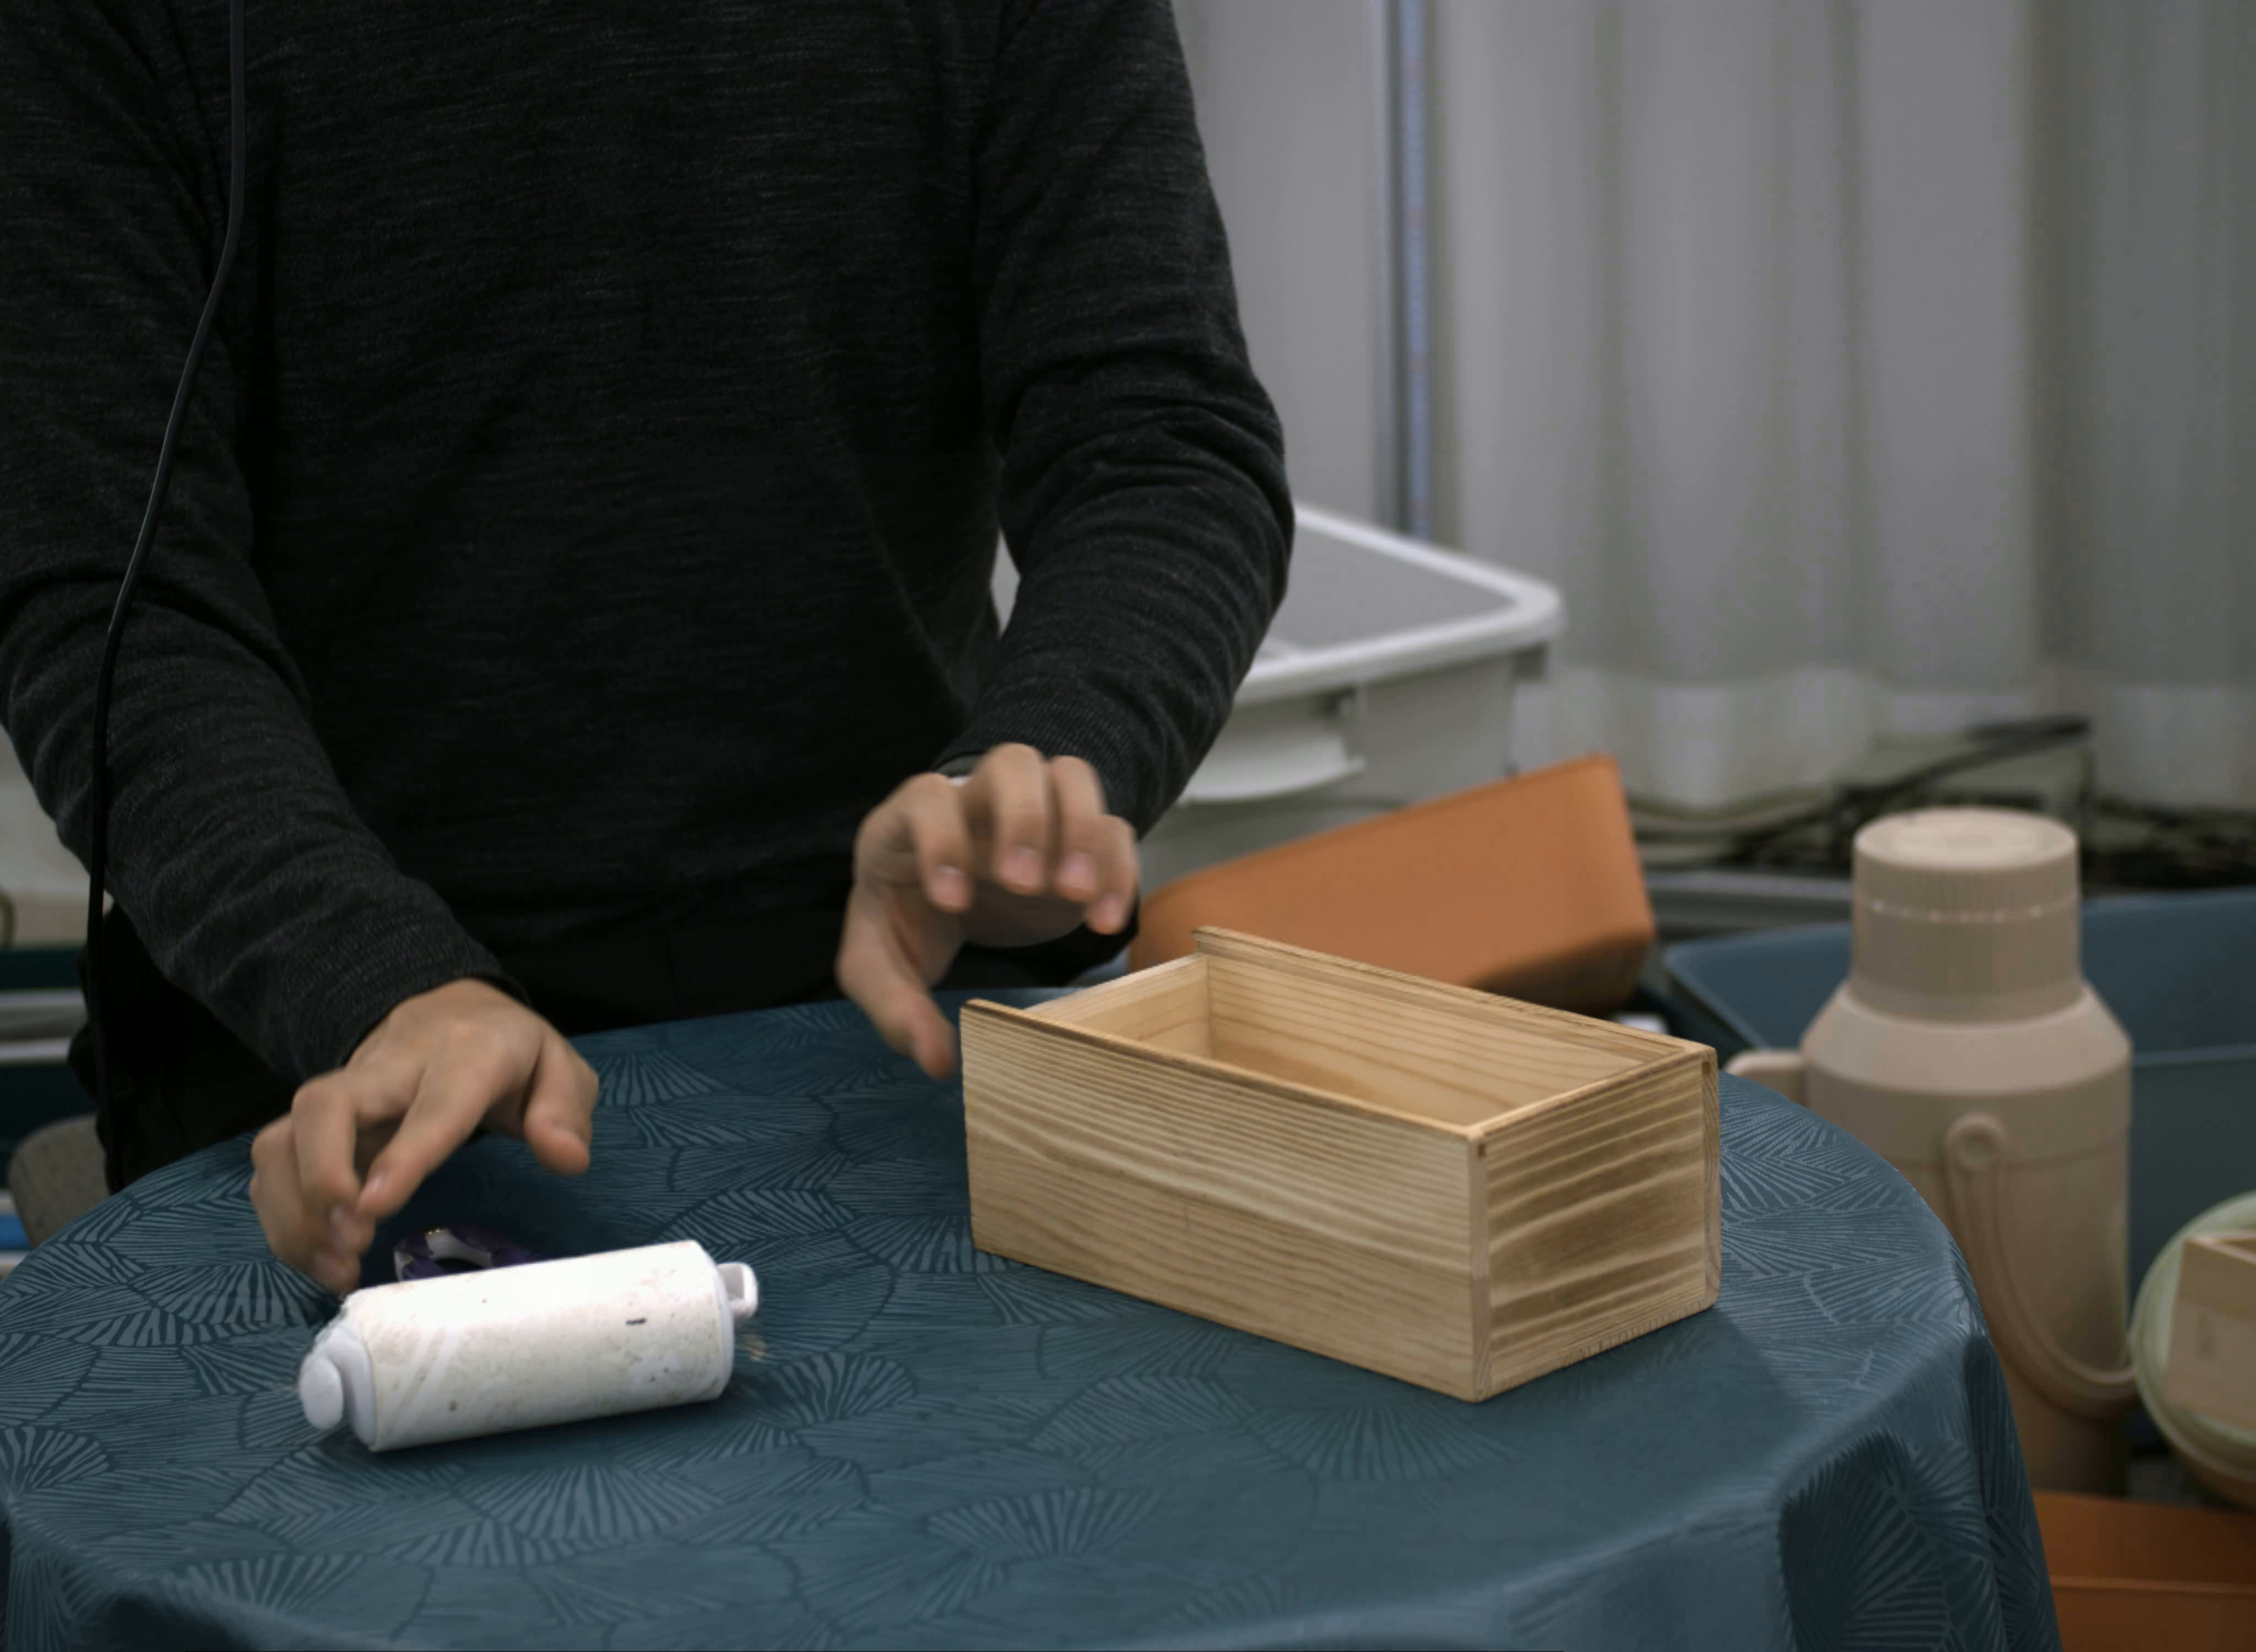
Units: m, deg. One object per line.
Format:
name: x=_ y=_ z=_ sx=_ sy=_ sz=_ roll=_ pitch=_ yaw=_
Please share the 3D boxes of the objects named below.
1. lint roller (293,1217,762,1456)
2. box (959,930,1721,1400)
lint roller: x=-0.186 y=0.130 z=1.600 sx=0.132 sy=0.050 sz=0.182 roll=-8 pitch=18 yaw=-14
box: x=0.061 y=0.097 z=1.617 sx=0.107 sy=0.080 sz=0.212 roll=-16 pitch=19 yaw=-42
